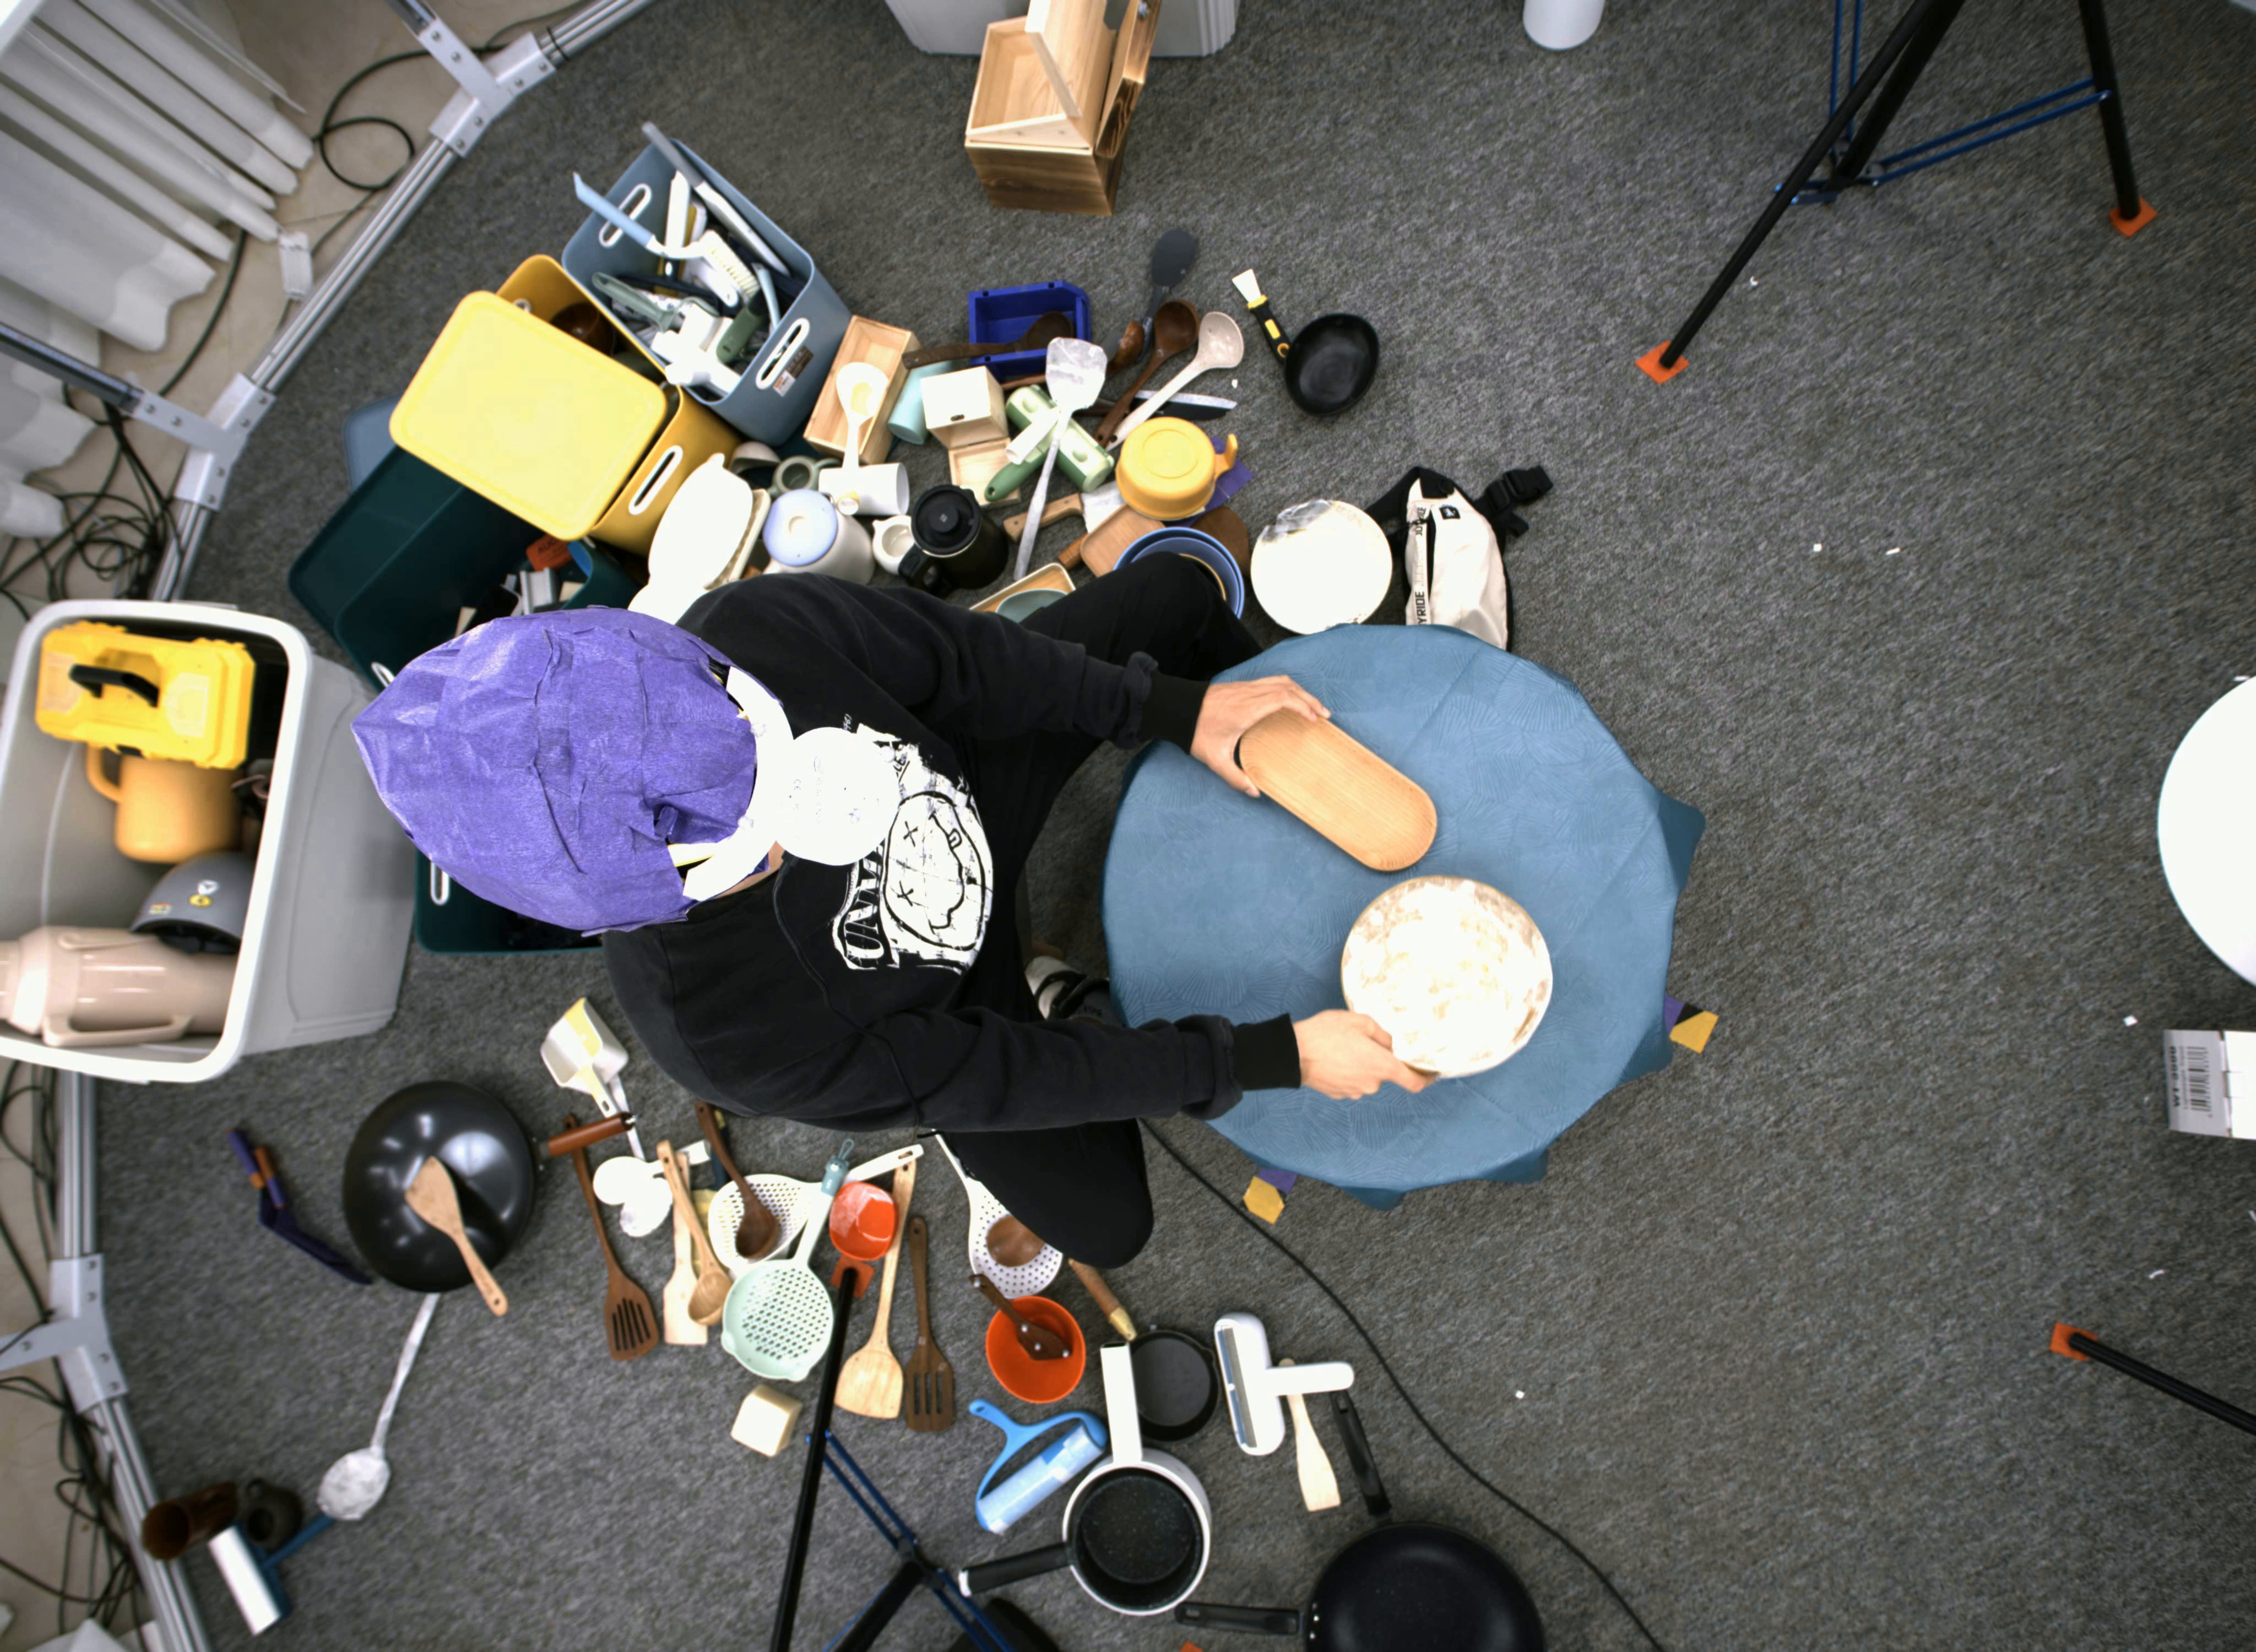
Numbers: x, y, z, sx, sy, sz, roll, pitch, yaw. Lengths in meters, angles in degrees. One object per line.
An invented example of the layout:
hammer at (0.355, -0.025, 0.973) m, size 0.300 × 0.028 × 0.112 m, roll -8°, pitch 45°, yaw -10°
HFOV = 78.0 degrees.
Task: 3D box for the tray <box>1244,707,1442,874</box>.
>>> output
tray at (0.226, -0.039, 1.457) m, size 0.231 × 0.020 × 0.102 m, roll 35°, pitch 96°, yaw 1°

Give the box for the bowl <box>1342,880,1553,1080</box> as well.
bowl at (0.317, 0.158, 1.384) m, size 0.216 × 0.096 × 0.210 m, roll -5°, pitch 68°, yaw 12°
